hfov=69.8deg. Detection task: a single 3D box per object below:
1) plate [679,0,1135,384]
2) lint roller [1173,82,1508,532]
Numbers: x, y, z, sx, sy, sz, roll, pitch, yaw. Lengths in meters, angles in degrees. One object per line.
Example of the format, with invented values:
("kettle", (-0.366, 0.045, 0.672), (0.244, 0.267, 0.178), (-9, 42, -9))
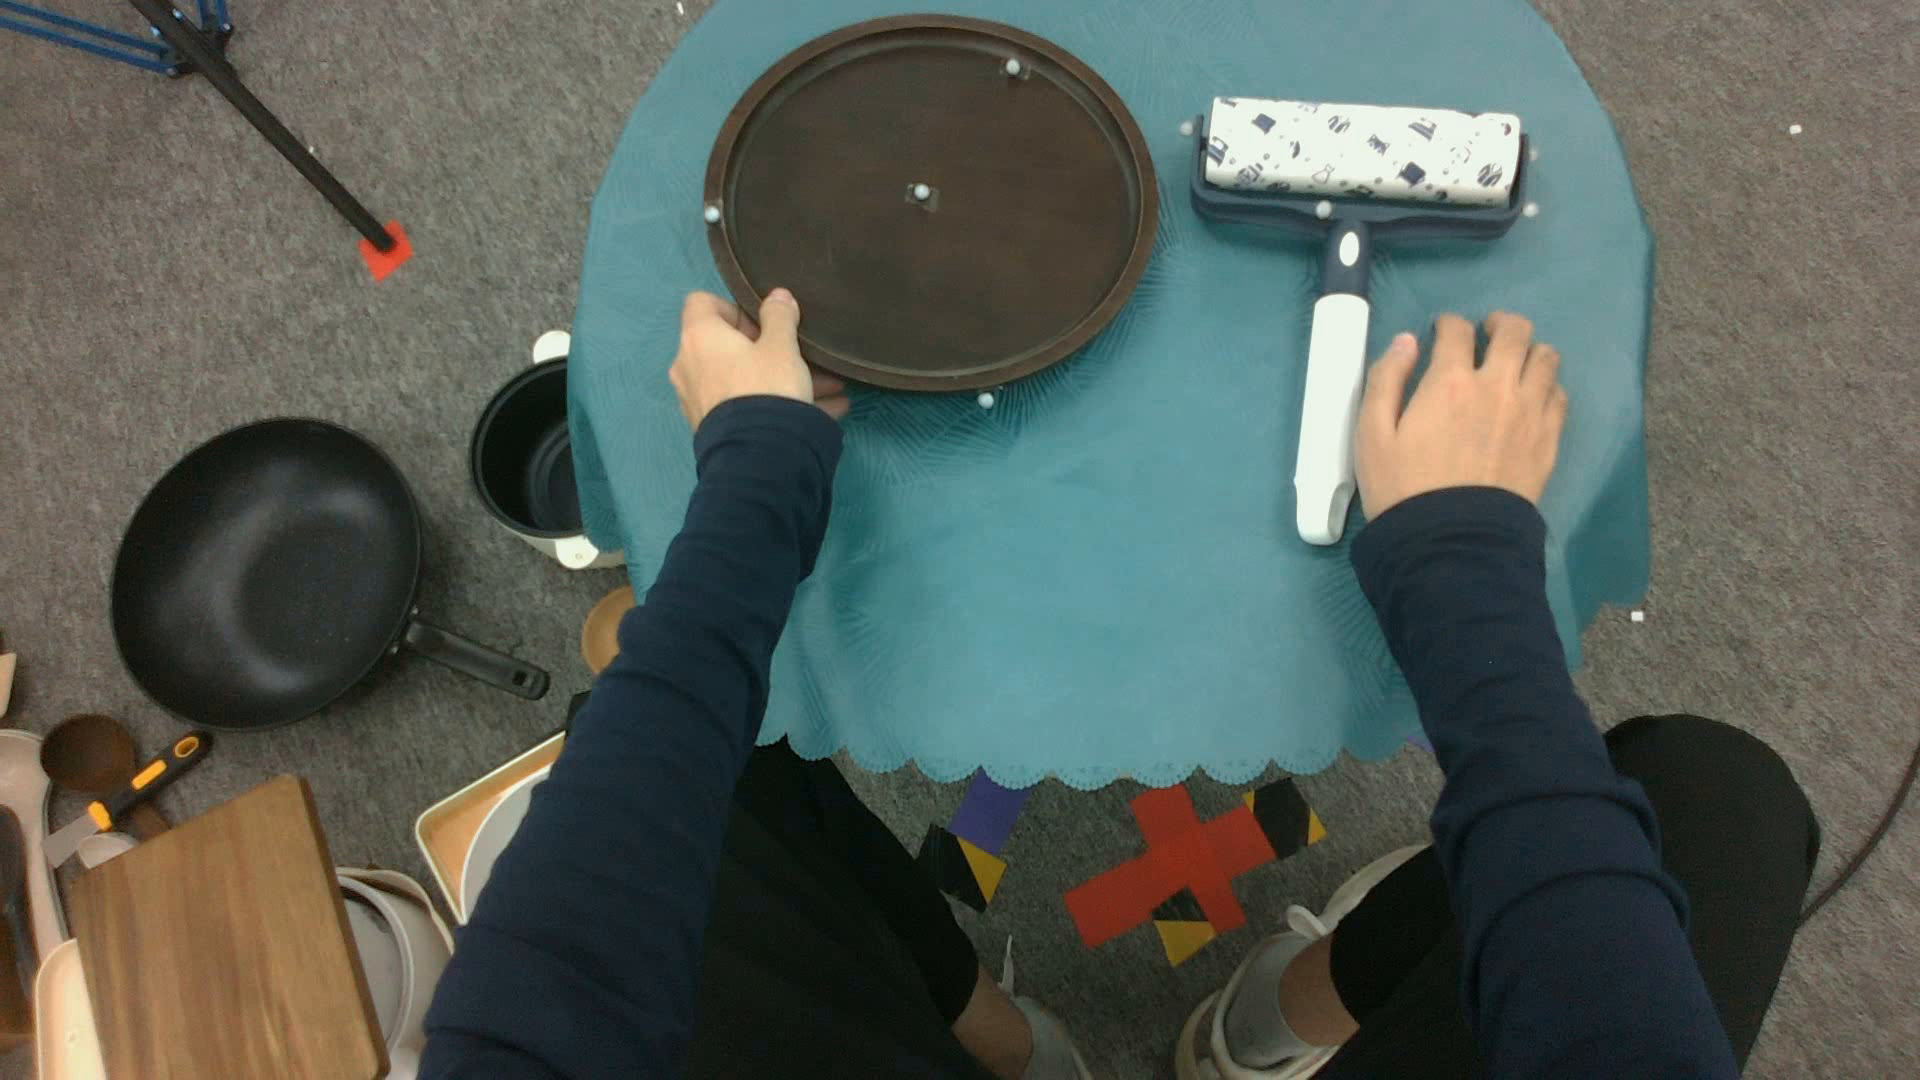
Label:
("plate", (-0.028, -0.199, 0.768), (0.255, 0.029, 0.255), (1, 68, -2))
("lint roller", (0.194, -0.126, 0.731), (0.176, 0.050, 0.247), (6, 75, 7))
